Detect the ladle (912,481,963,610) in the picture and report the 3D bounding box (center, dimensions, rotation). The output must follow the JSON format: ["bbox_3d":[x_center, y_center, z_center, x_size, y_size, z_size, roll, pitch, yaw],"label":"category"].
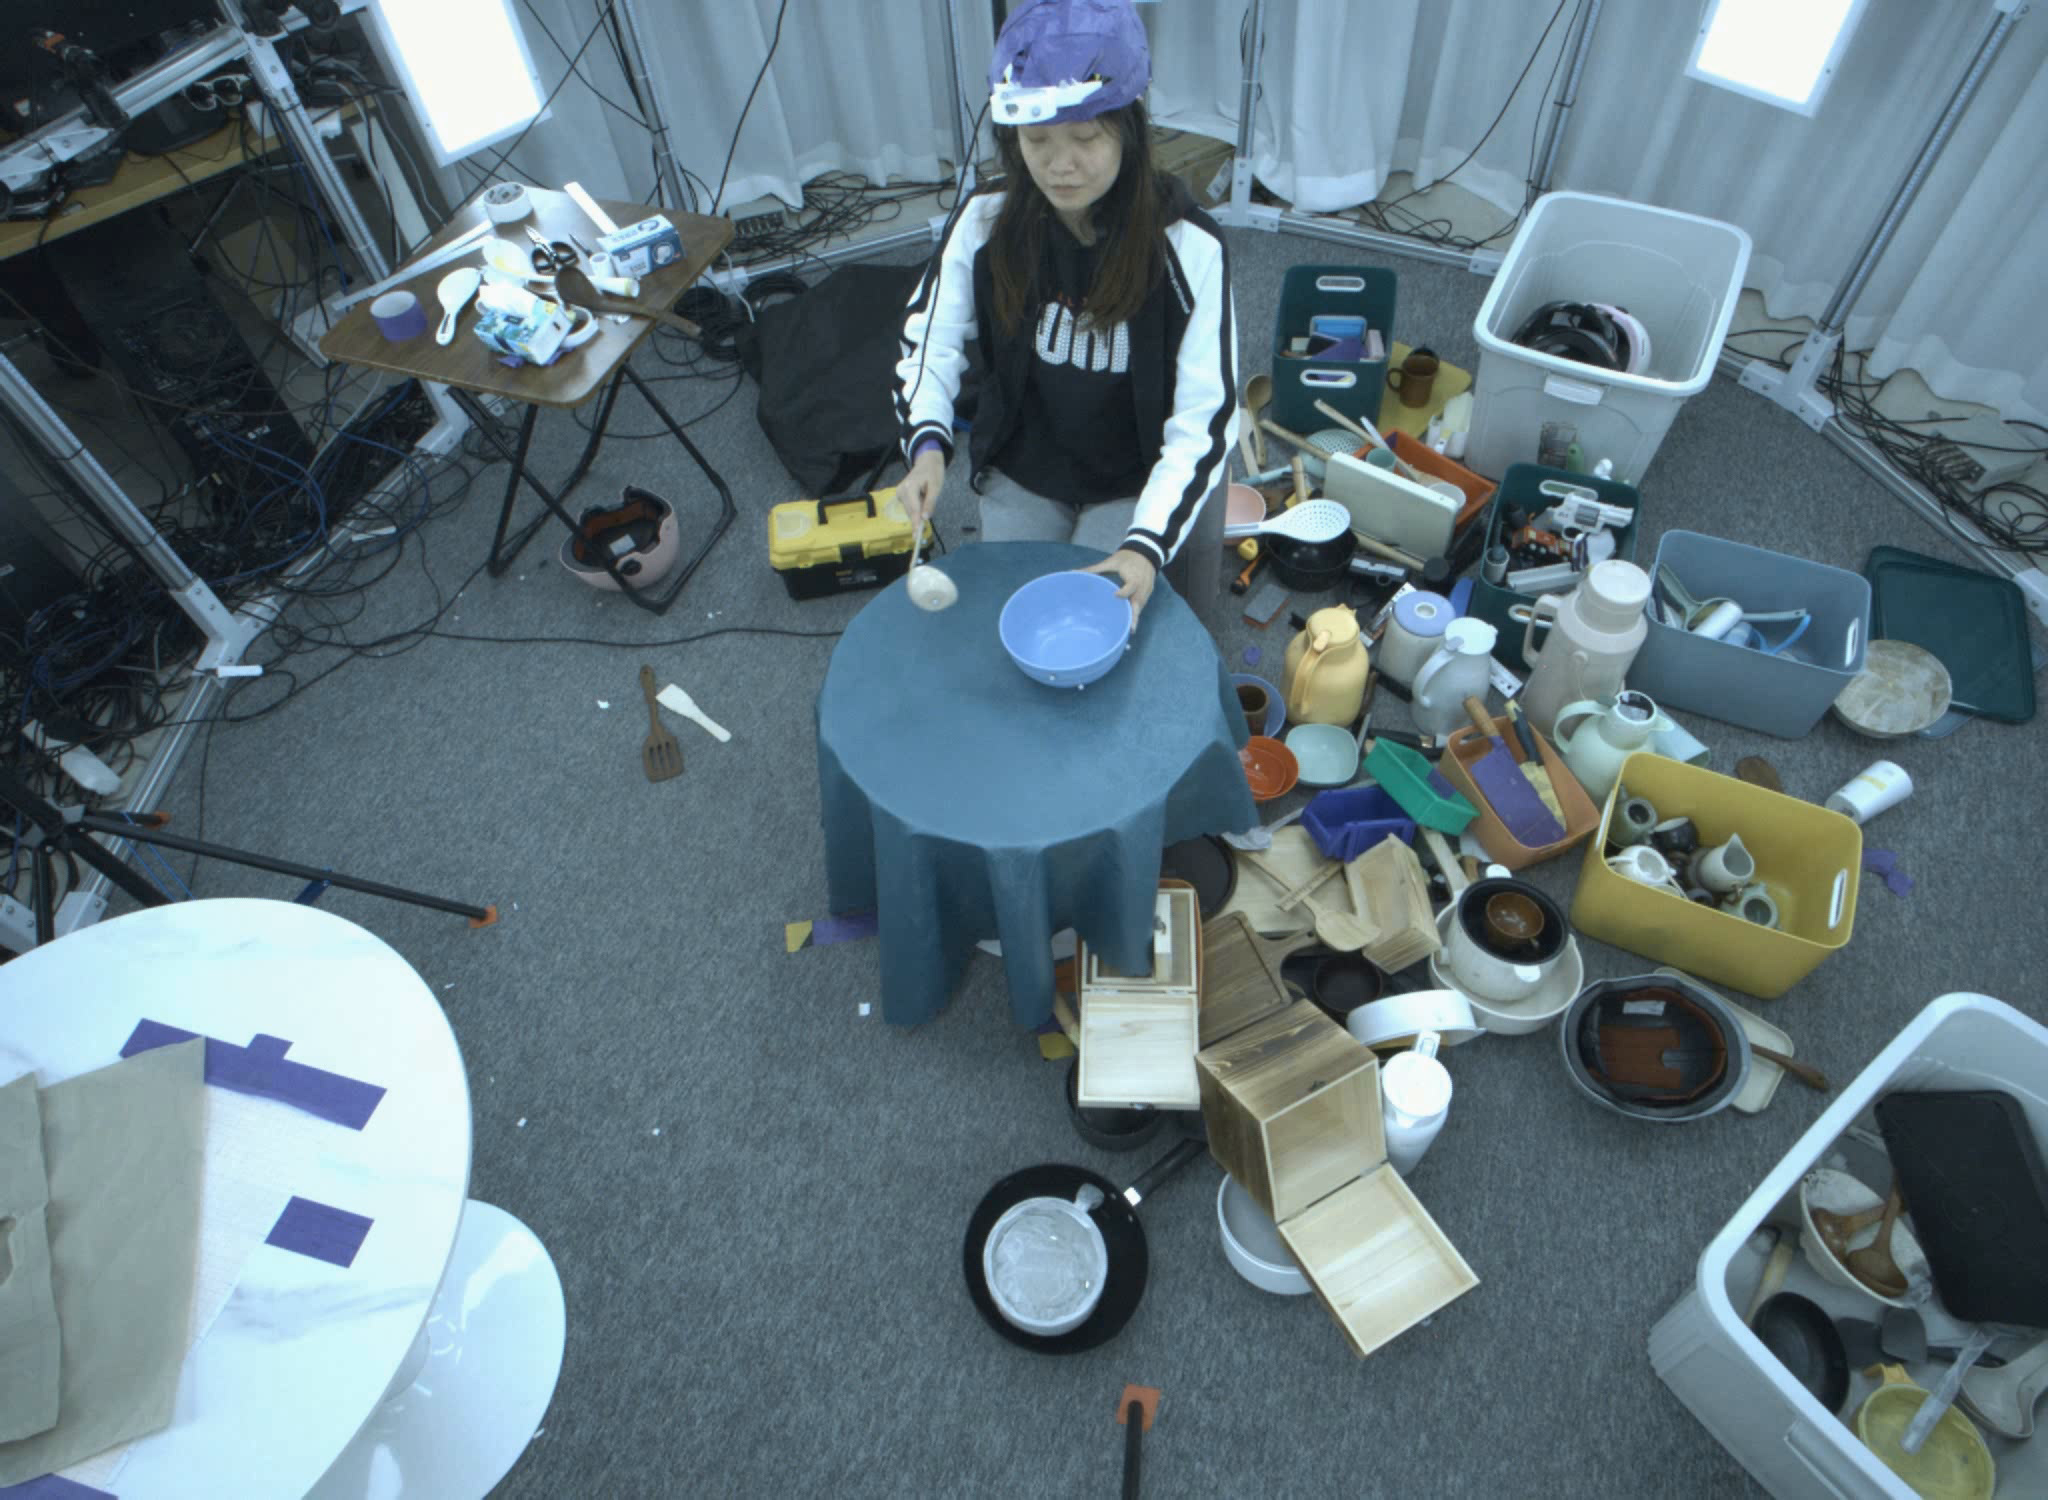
[{"bbox_3d":[-0.126,-0.312,1.789,0.072,0.073,0.251,-6,55,6],"label":"ladle"}]

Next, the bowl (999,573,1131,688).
[{"bbox_3d":[0.066,-0.164,1.843,0.195,0.097,0.194,-4,53,7],"label":"bowl"}]
